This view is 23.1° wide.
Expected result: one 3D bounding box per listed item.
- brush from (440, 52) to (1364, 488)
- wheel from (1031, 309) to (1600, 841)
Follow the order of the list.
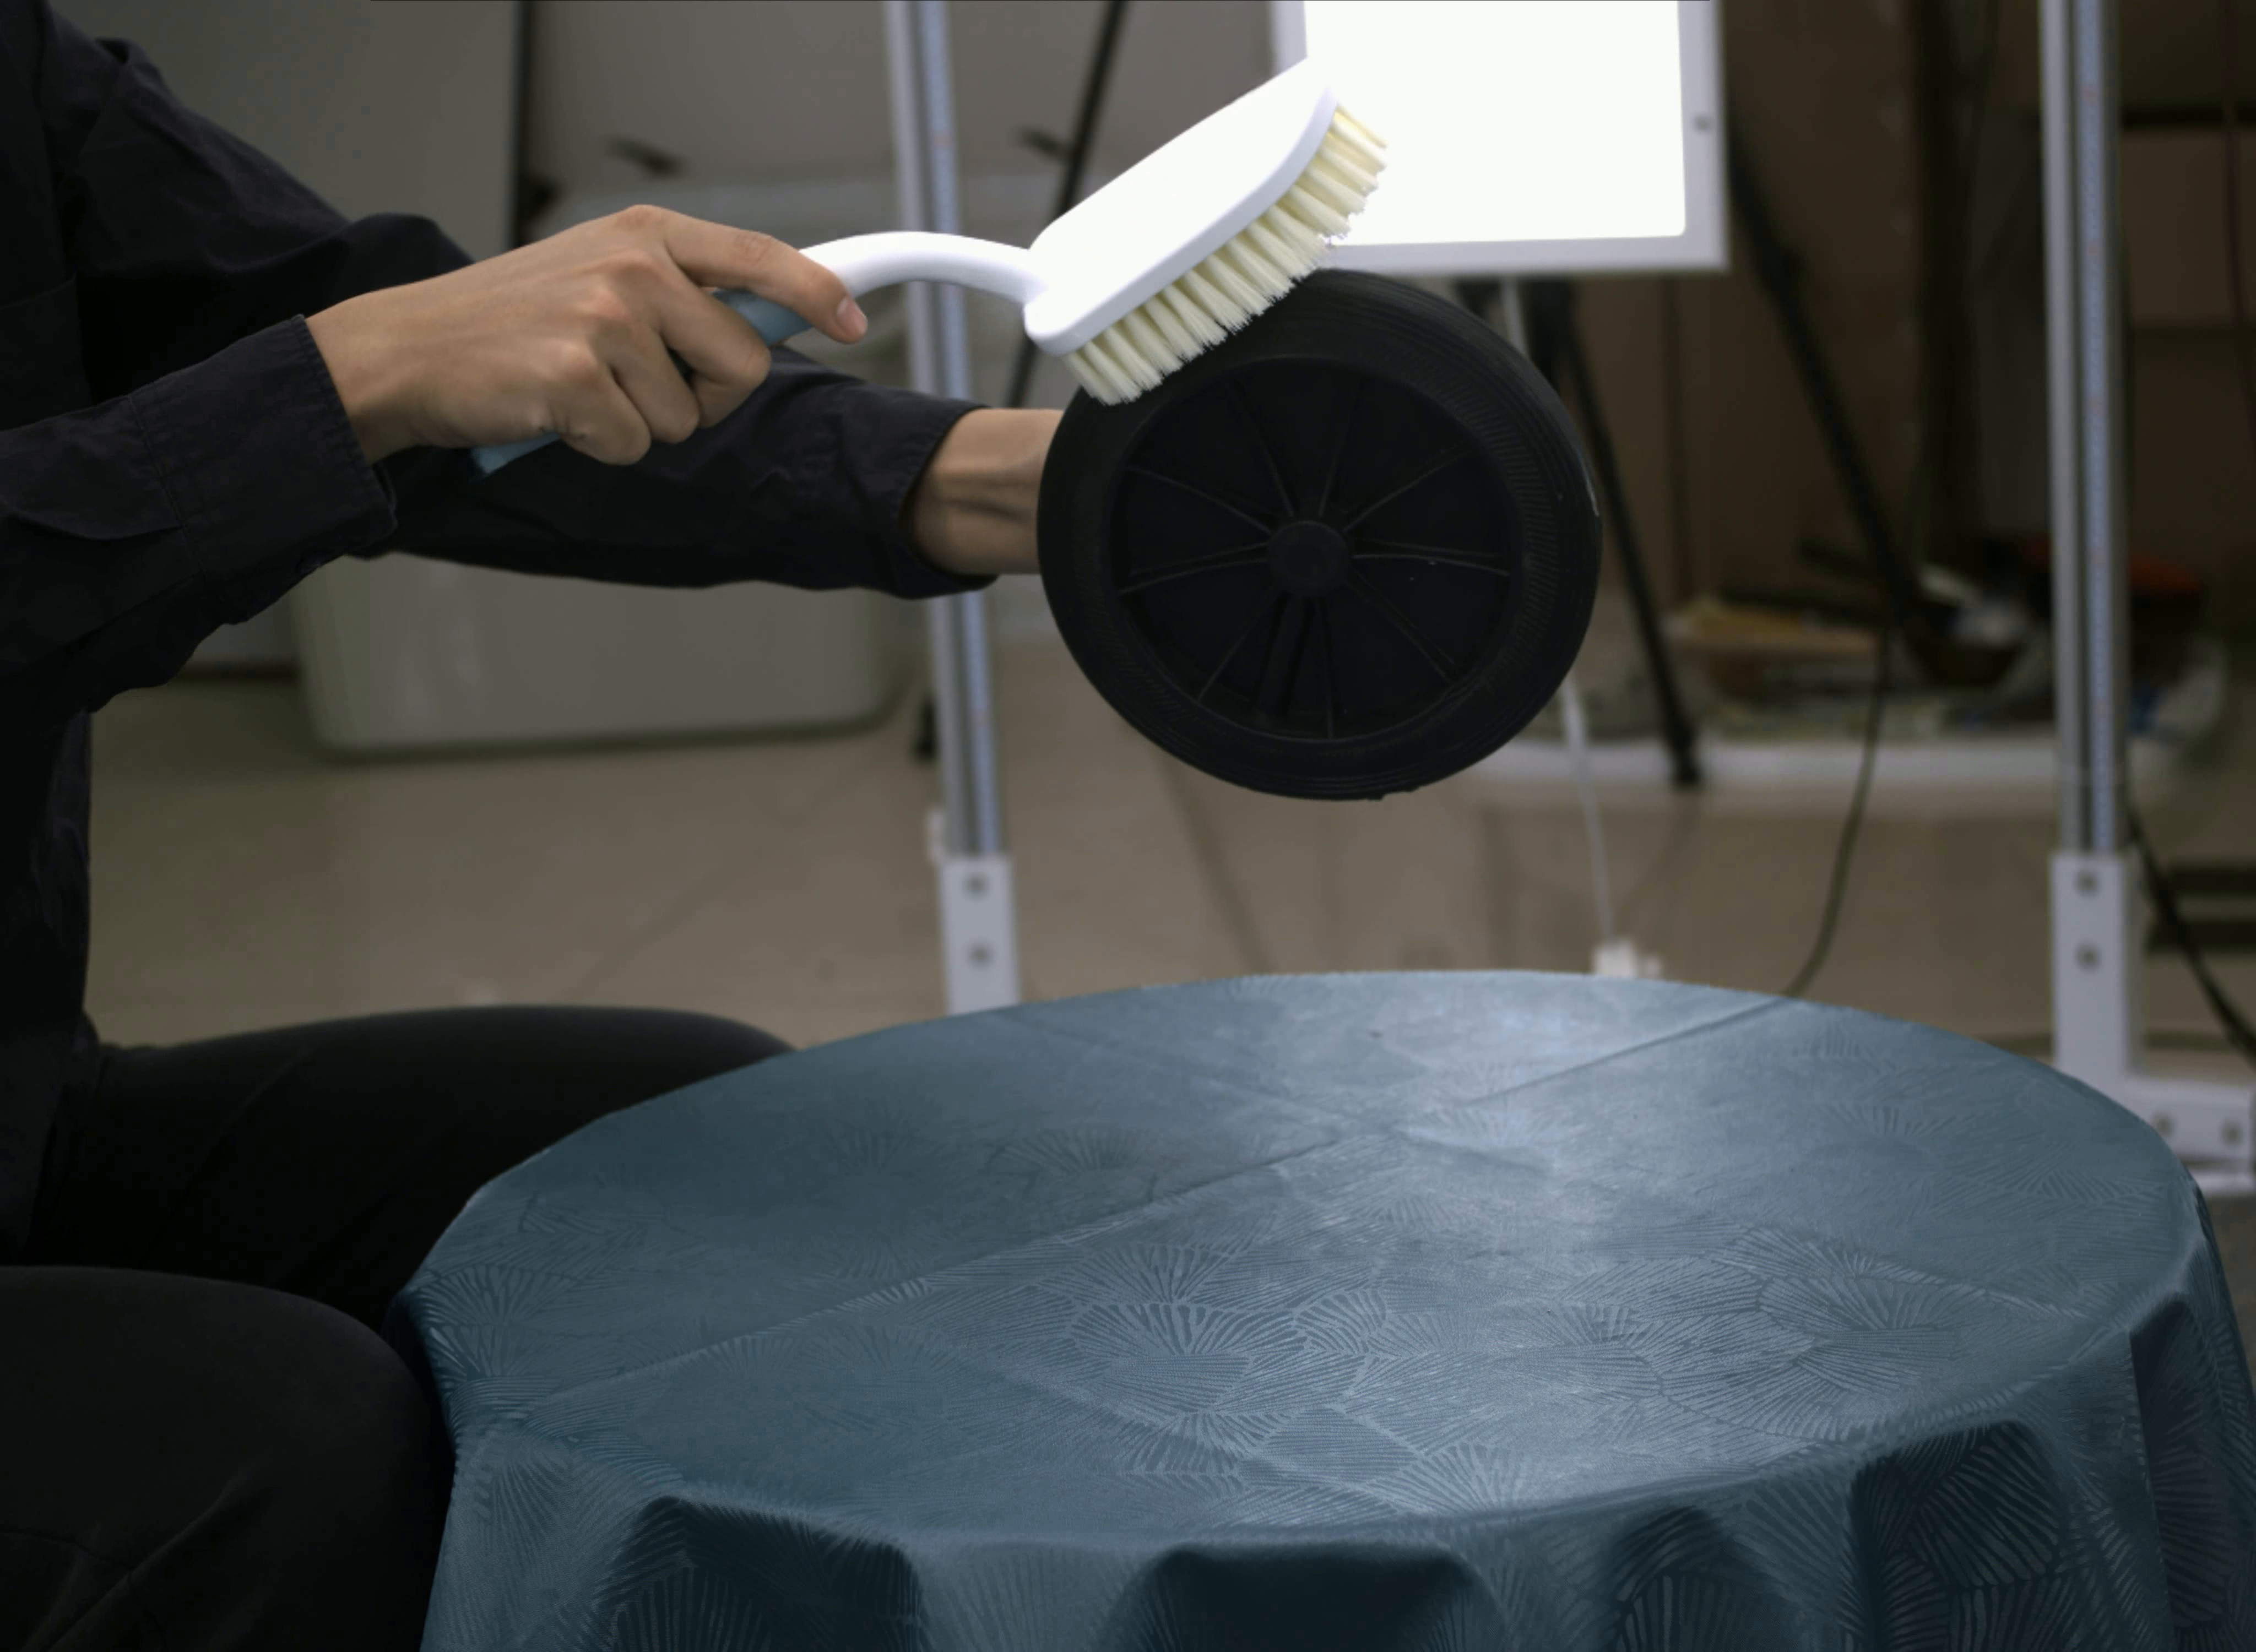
[{"bbox_3d":[-0.069,-0.158,1.787,0.329,0.085,0.082,-22,-3,16],"label":"brush"},{"bbox_3d":[0.065,-0.092,1.839,0.190,0.189,0.078,16,30,2],"label":"wheel"}]
